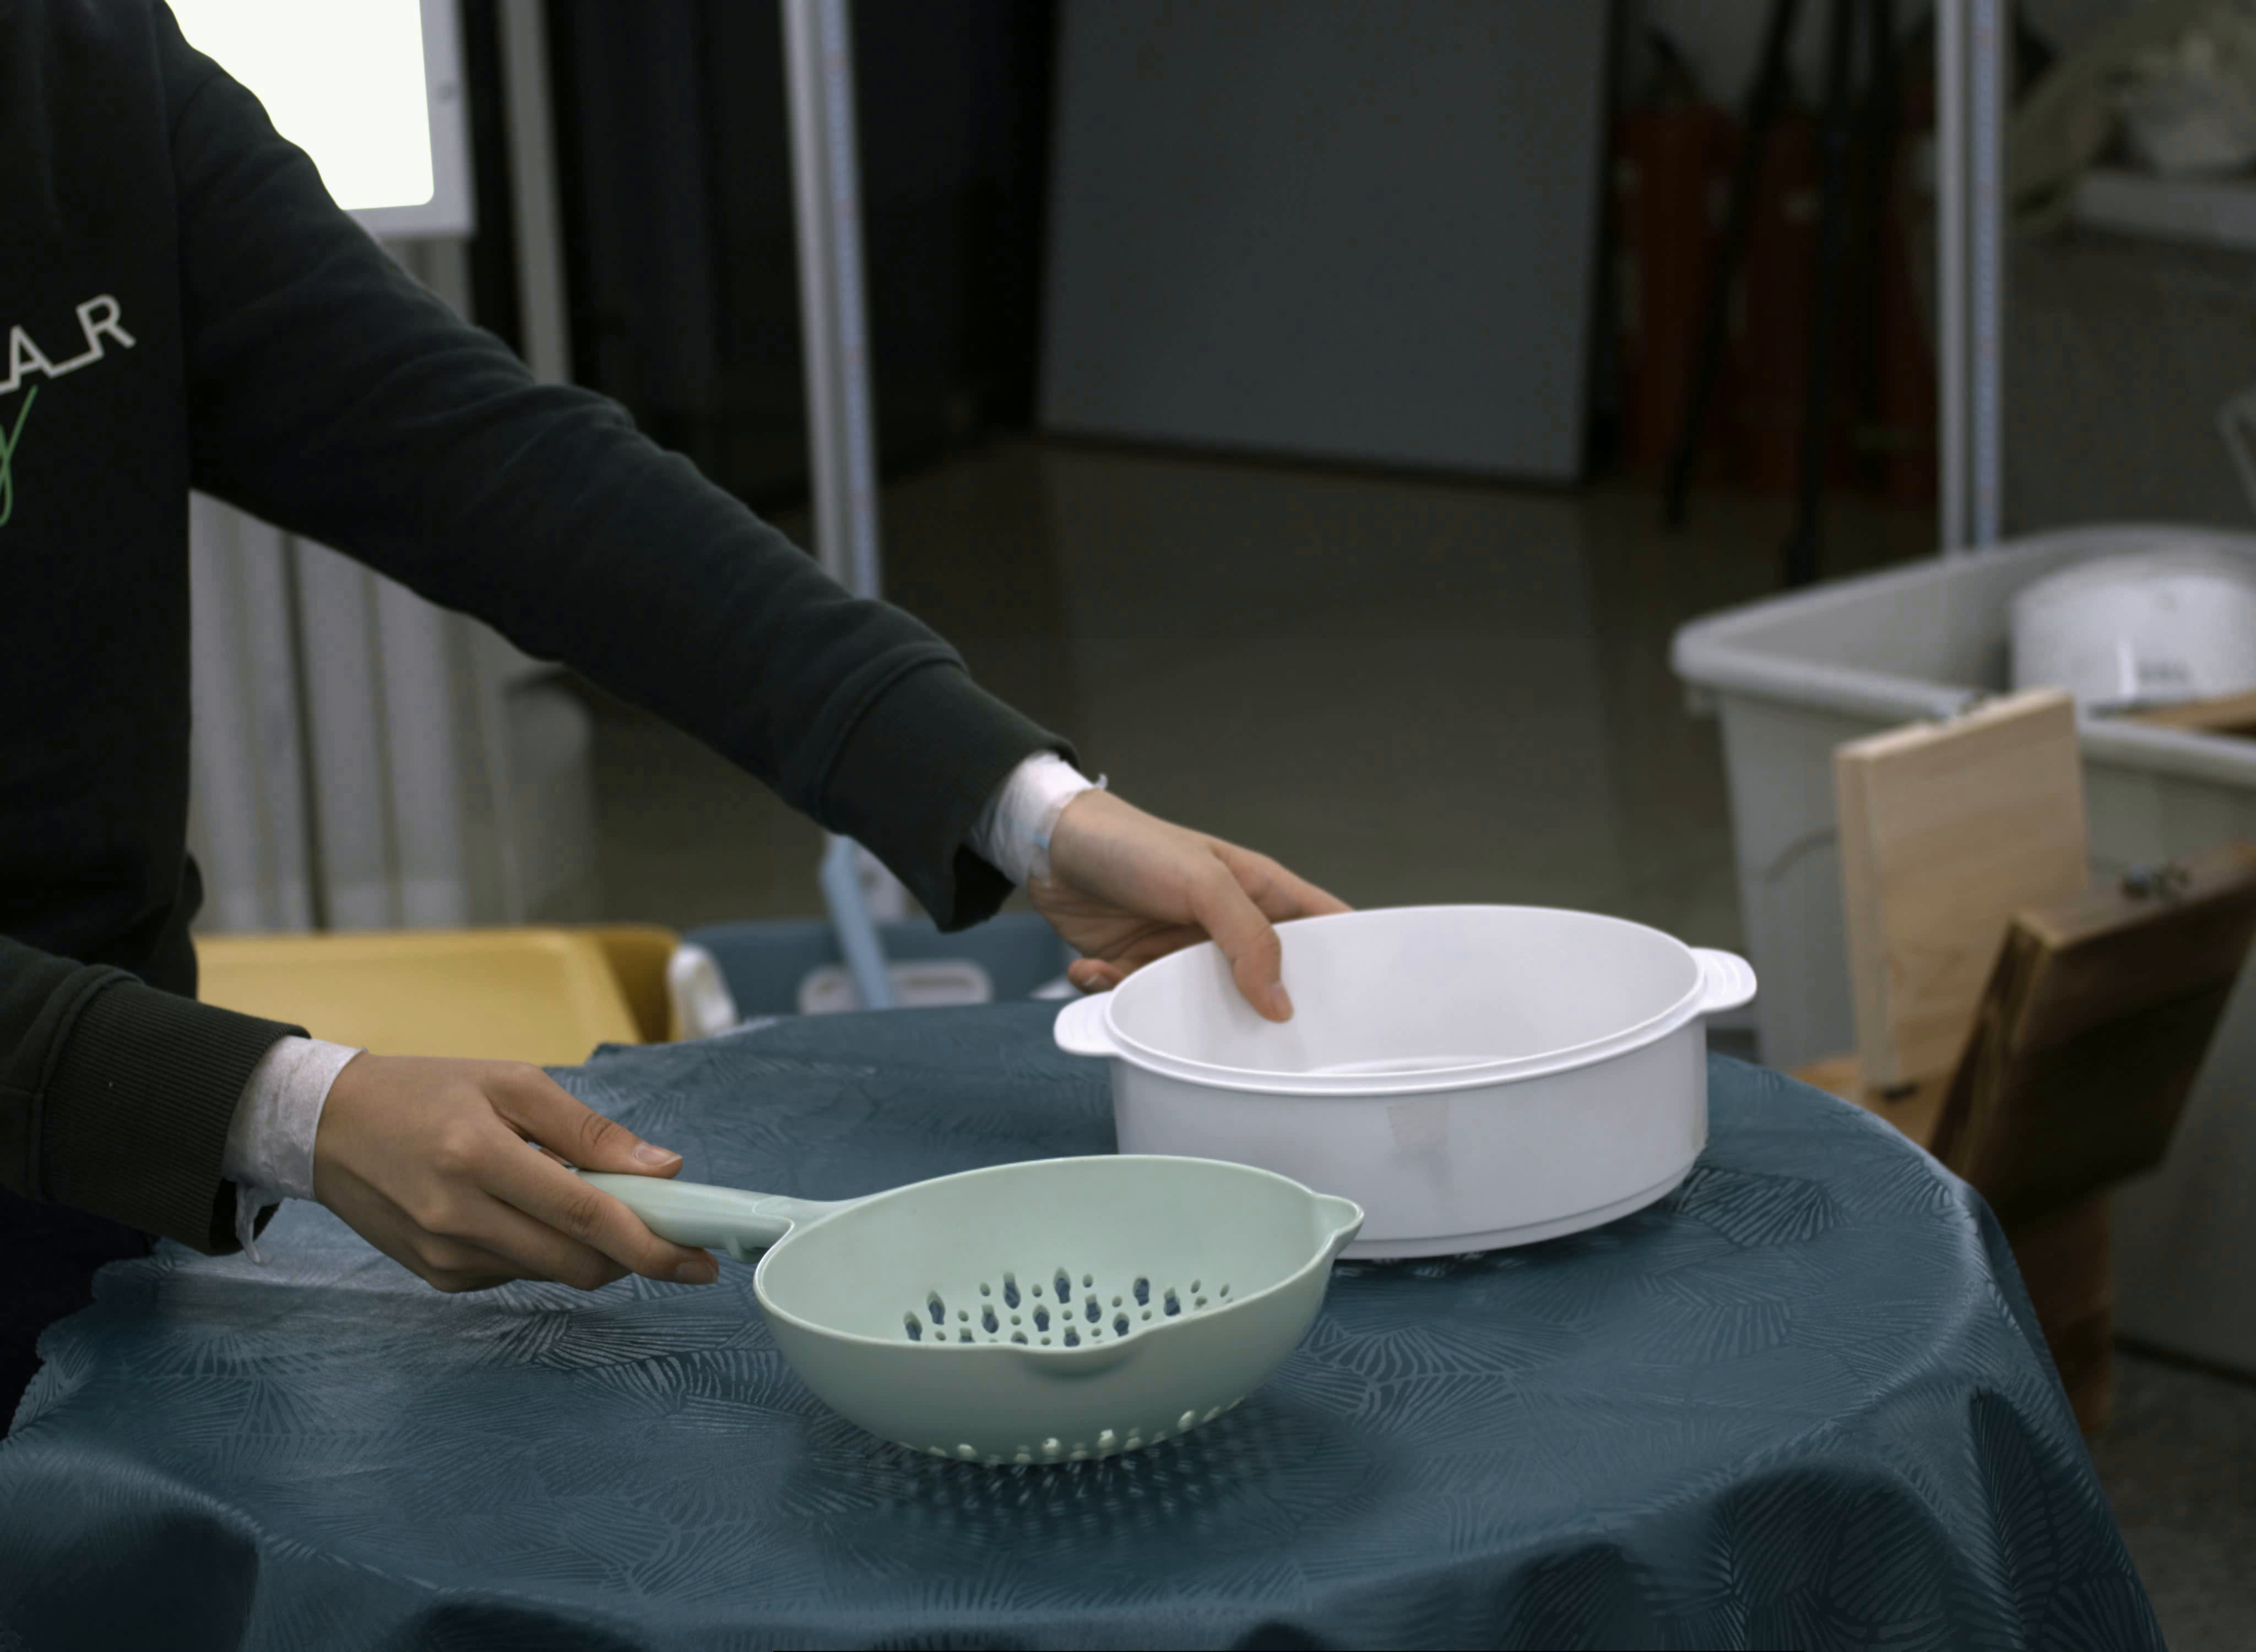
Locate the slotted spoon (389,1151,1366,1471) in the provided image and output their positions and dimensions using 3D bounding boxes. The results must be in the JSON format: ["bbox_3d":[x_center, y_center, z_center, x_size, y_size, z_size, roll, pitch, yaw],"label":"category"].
[{"bbox_3d":[-0.096,0.127,1.607,0.361,0.076,0.166,14,22,38],"label":"slotted spoon"}]

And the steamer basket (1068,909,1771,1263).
[{"bbox_3d":[0.096,0.084,1.747,0.228,0.070,0.202,-5,13,3],"label":"steamer basket"}]
